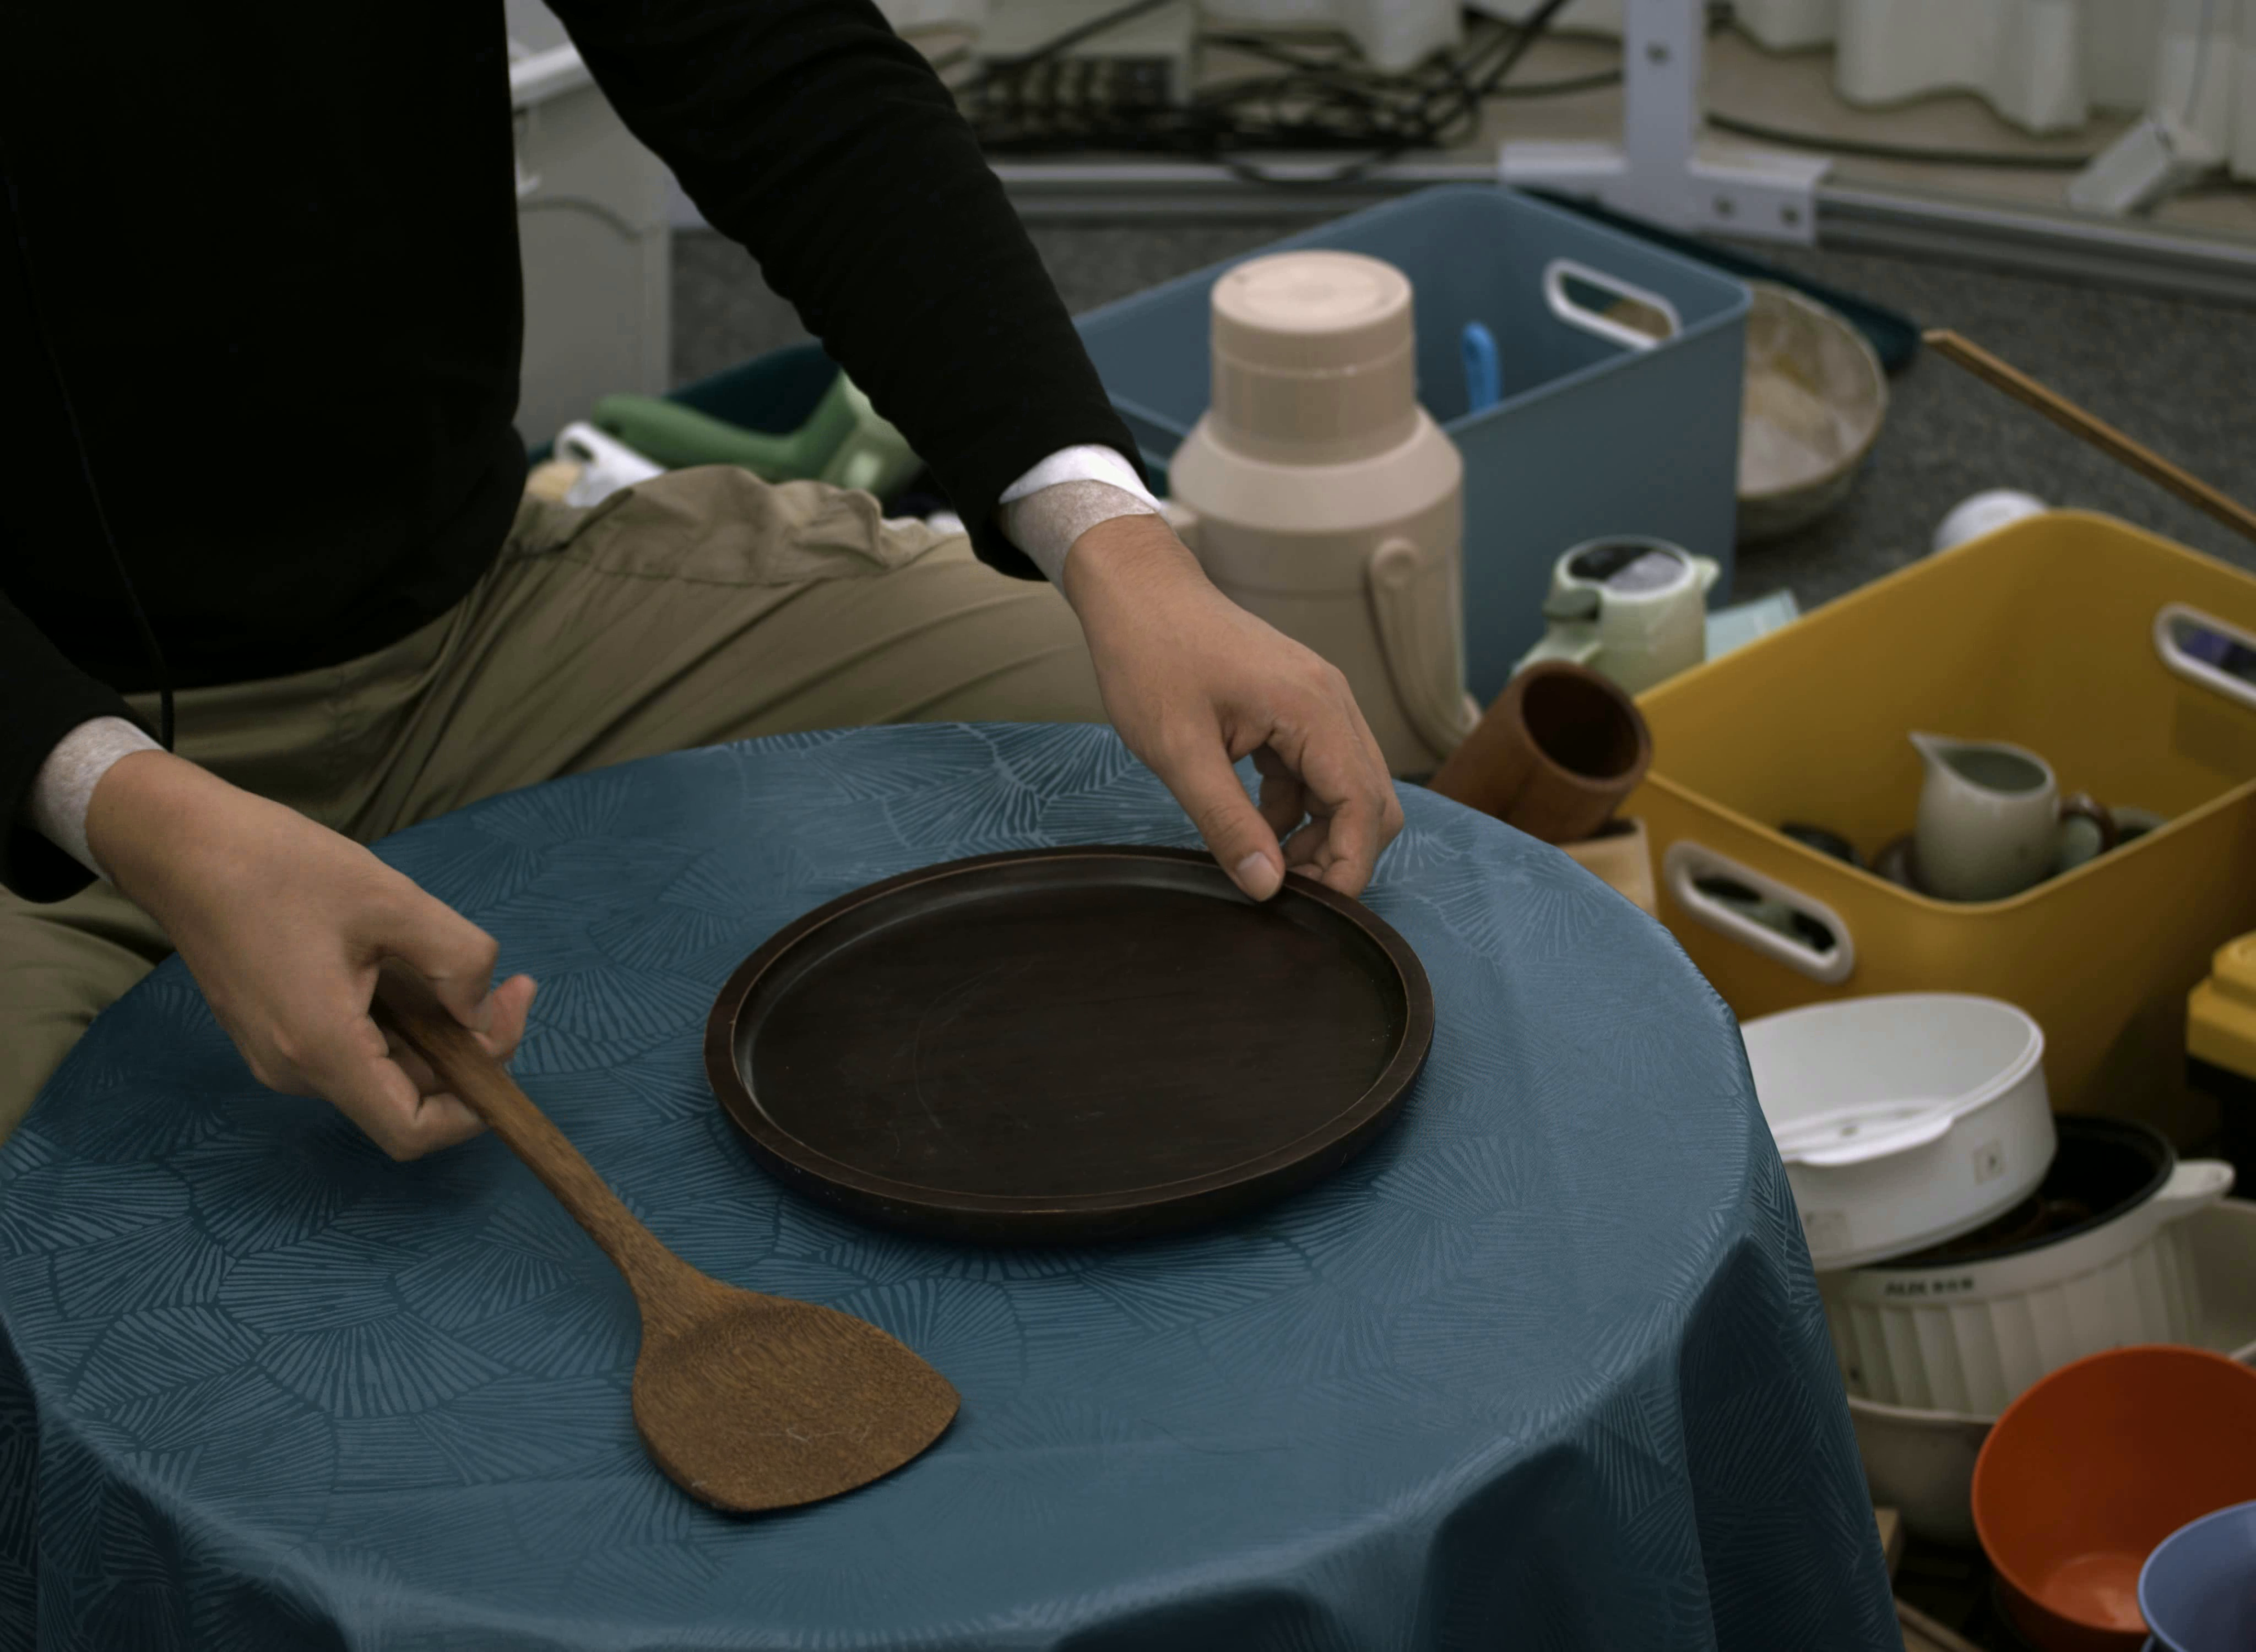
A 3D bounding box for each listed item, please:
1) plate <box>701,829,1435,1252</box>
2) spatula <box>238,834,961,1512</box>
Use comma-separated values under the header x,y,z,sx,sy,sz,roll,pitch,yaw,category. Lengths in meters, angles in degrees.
x,y,z,sx,sy,sz,roll,pitch,yaw,category
-0.020,0.075,1.928,0.253,0.029,0.259,-3,28,2,plate
-0.192,0.103,1.836,0.097,0.015,0.388,-19,43,-31,spatula
